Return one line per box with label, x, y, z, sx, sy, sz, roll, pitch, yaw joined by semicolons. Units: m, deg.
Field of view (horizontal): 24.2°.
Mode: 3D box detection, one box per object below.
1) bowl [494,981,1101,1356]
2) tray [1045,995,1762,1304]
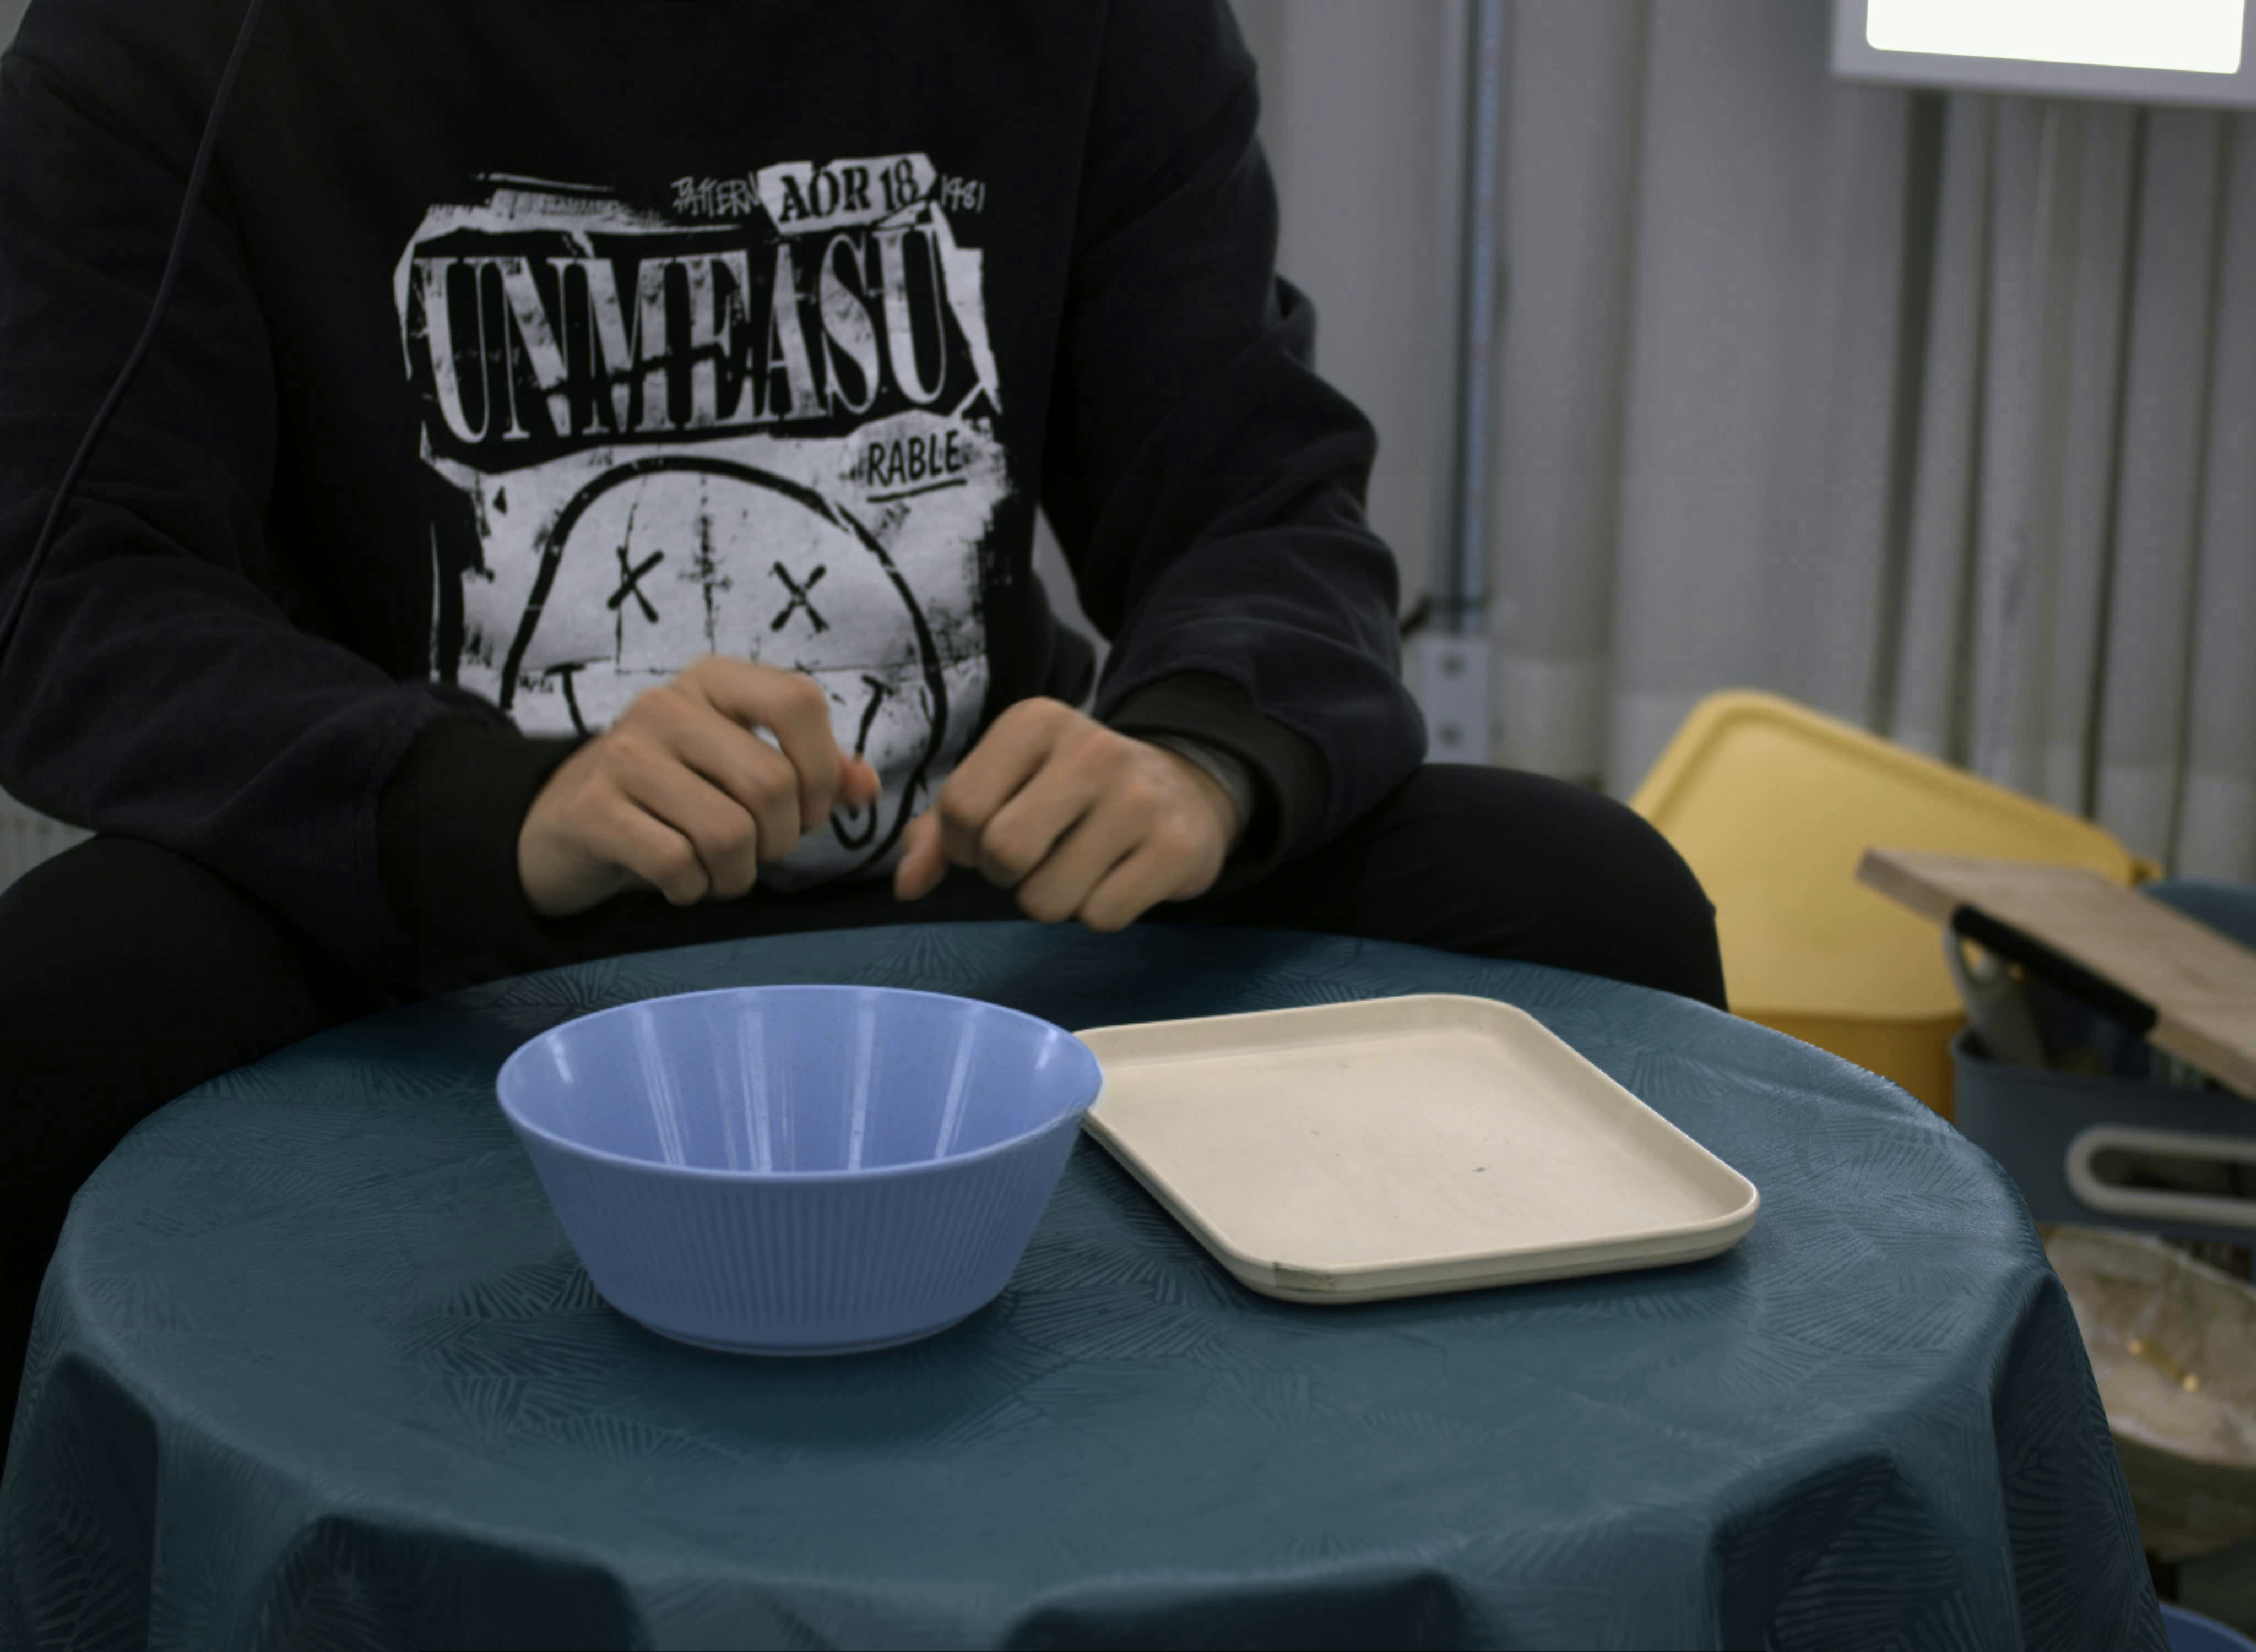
bowl;-0.096;0.102;1.529;0.175;0.071;0.175;1;17;0
tray;0.080;0.099;1.644;0.171;0.017;0.237;-4;17;-18
